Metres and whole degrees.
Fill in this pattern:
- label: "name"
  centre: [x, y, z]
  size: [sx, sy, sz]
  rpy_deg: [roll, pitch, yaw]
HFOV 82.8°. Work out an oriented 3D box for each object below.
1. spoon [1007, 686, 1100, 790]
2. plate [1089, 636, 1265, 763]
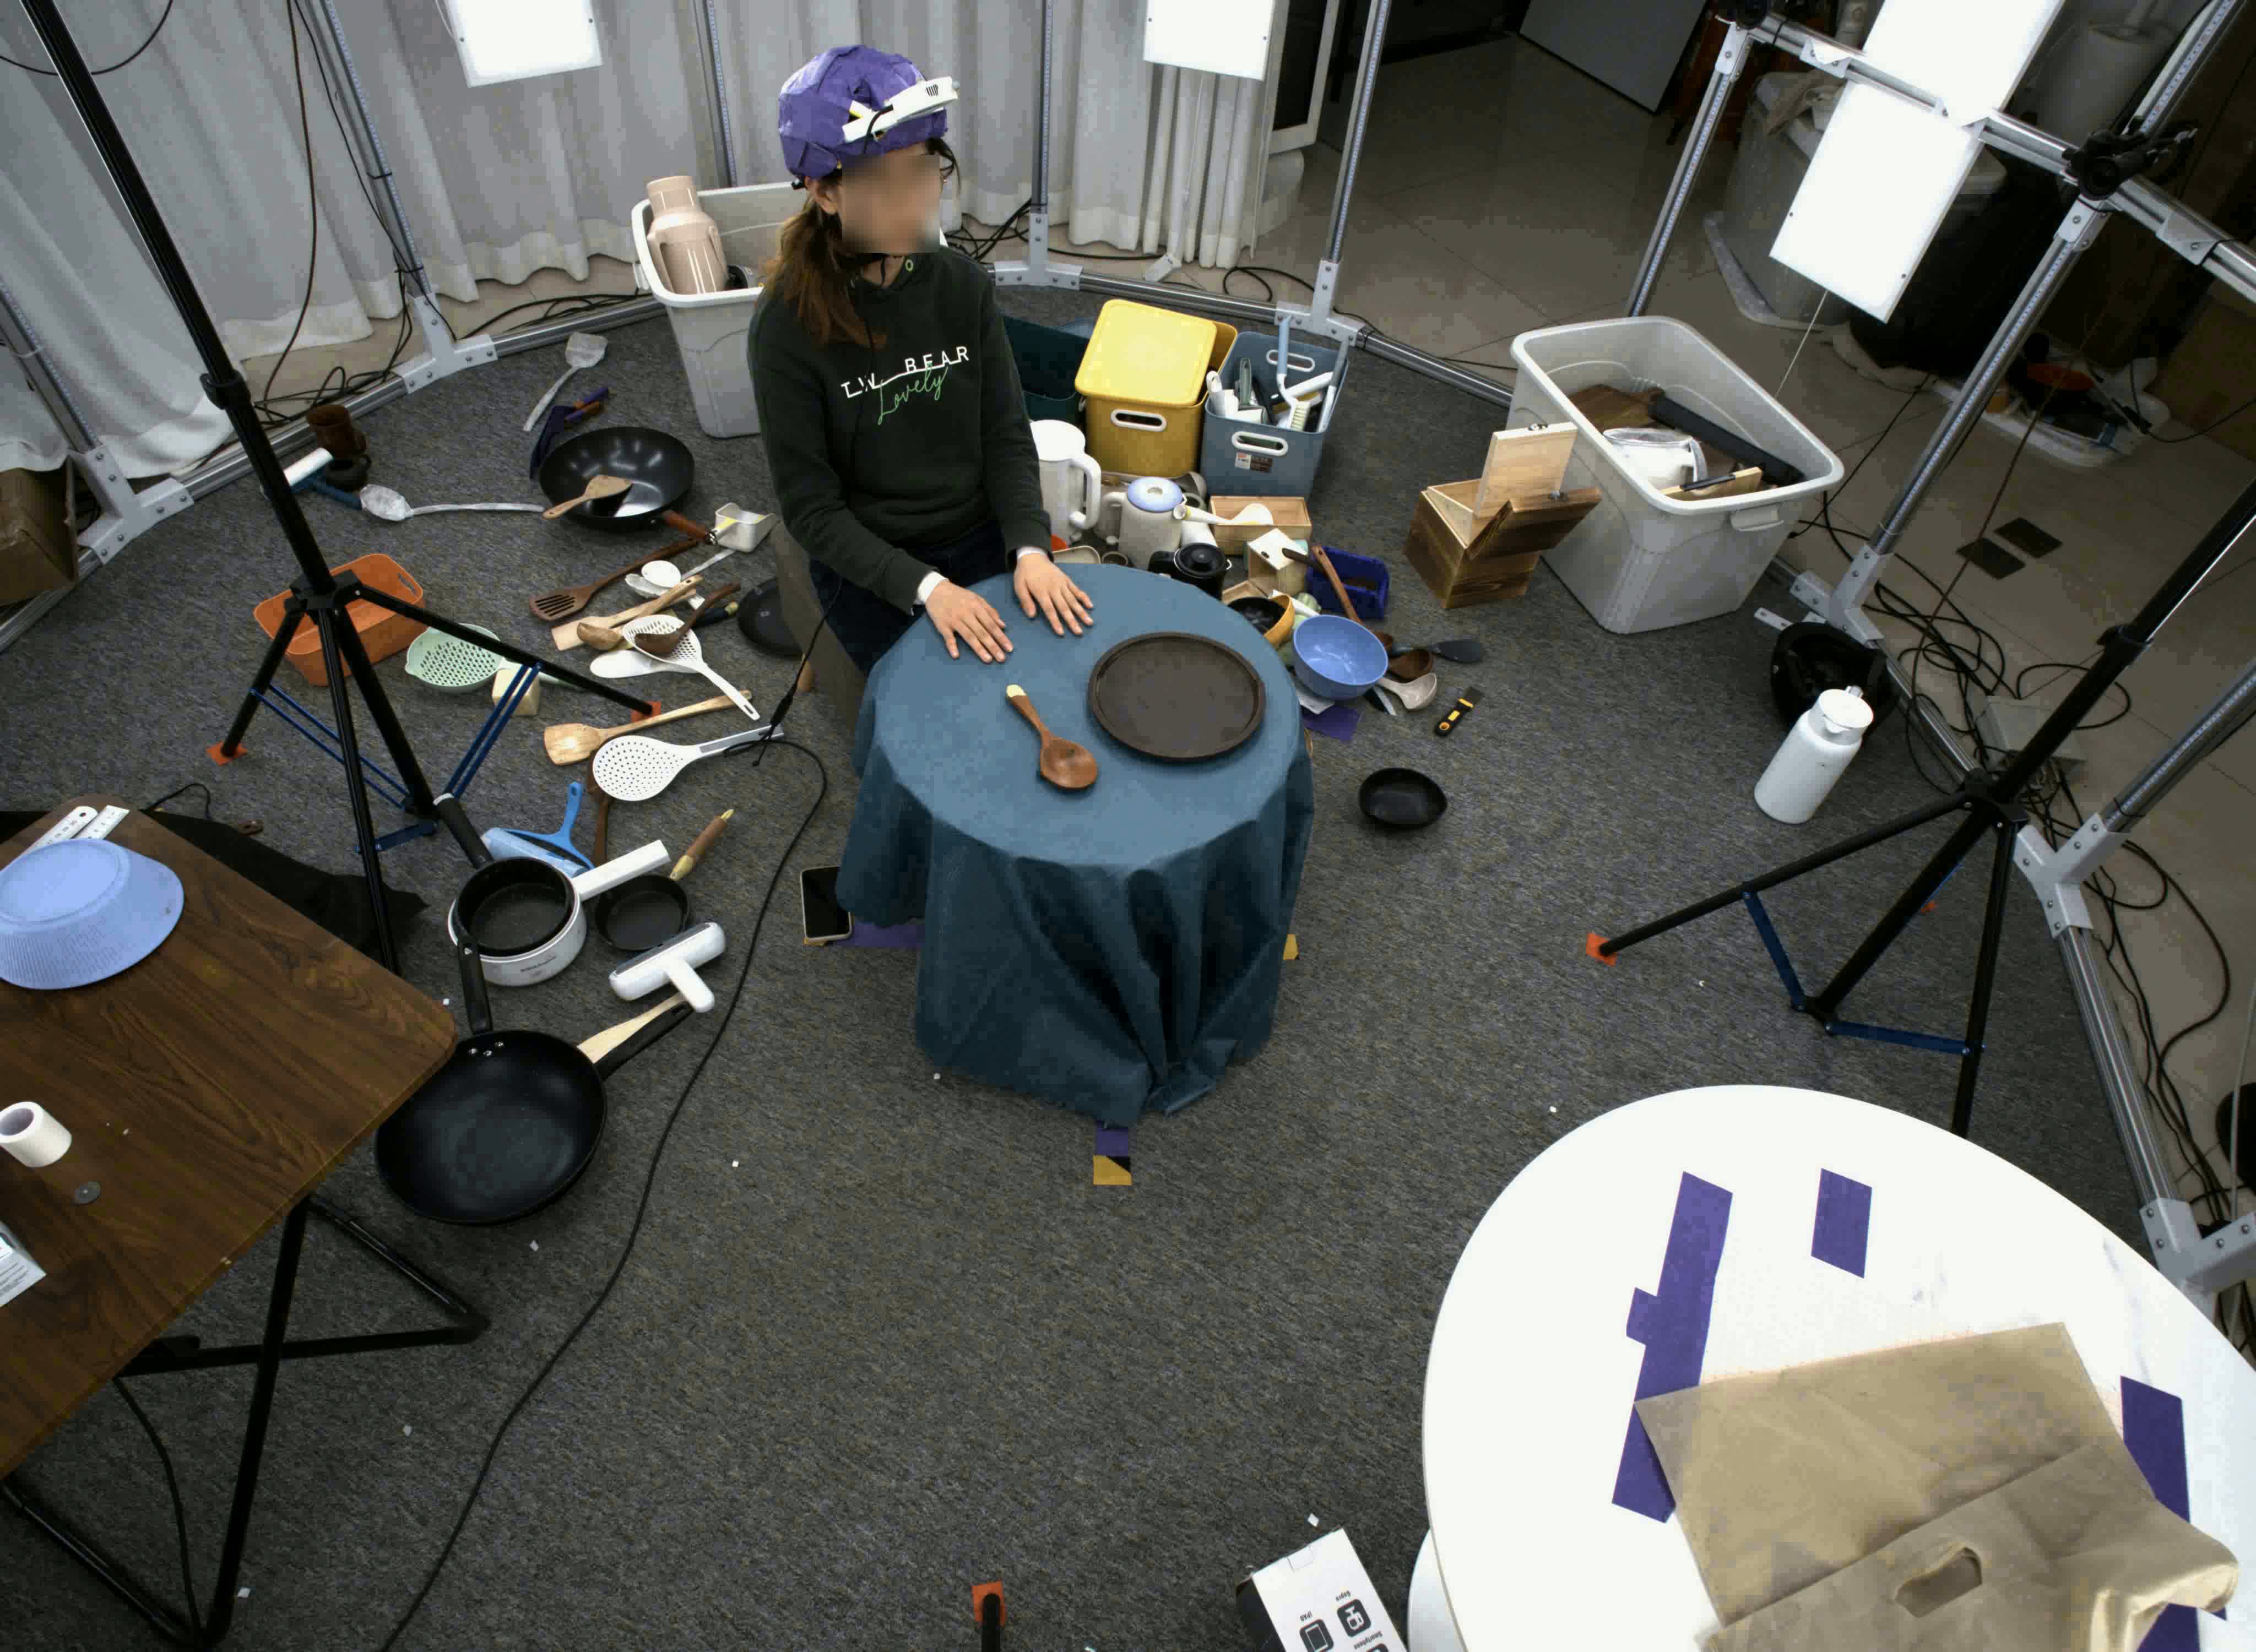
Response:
- label: "spoon"
  centre: [-0.110, -0.123, 1.772]
  size: [0.076, 0.017, 0.220]
  rpy_deg: [-22, 54, -21]
- label: "plate"
  centre: [0.070, -0.183, 1.834]
  size: [0.254, 0.028, 0.261]
  rpy_deg: [3, 49, -3]
